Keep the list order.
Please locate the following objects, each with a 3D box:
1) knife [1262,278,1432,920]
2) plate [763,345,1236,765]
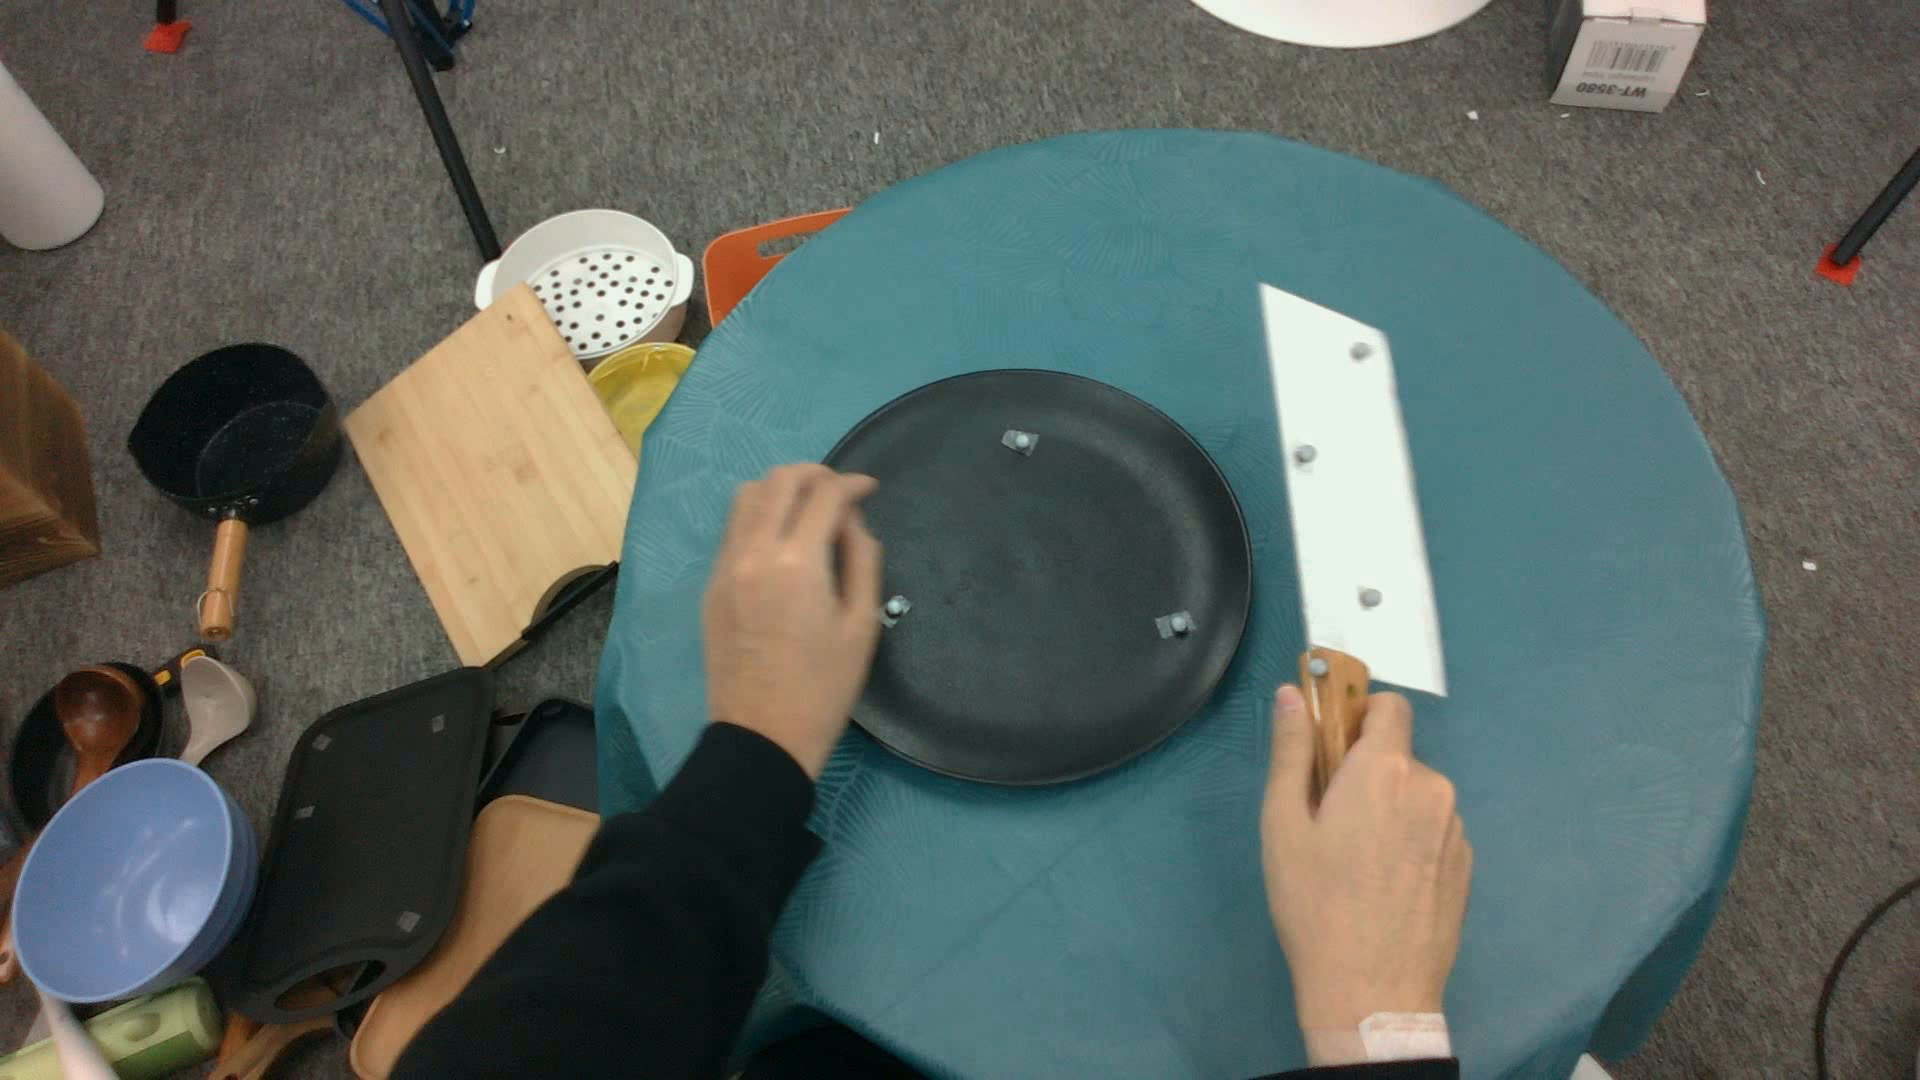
[{"bbox_3d":[0.184,0.019,0.635,0.093,0.021,0.306,14,64,-32],"label":"knife"},{"bbox_3d":[0.020,0.003,0.716,0.244,0.023,0.245,0,61,0],"label":"plate"}]
